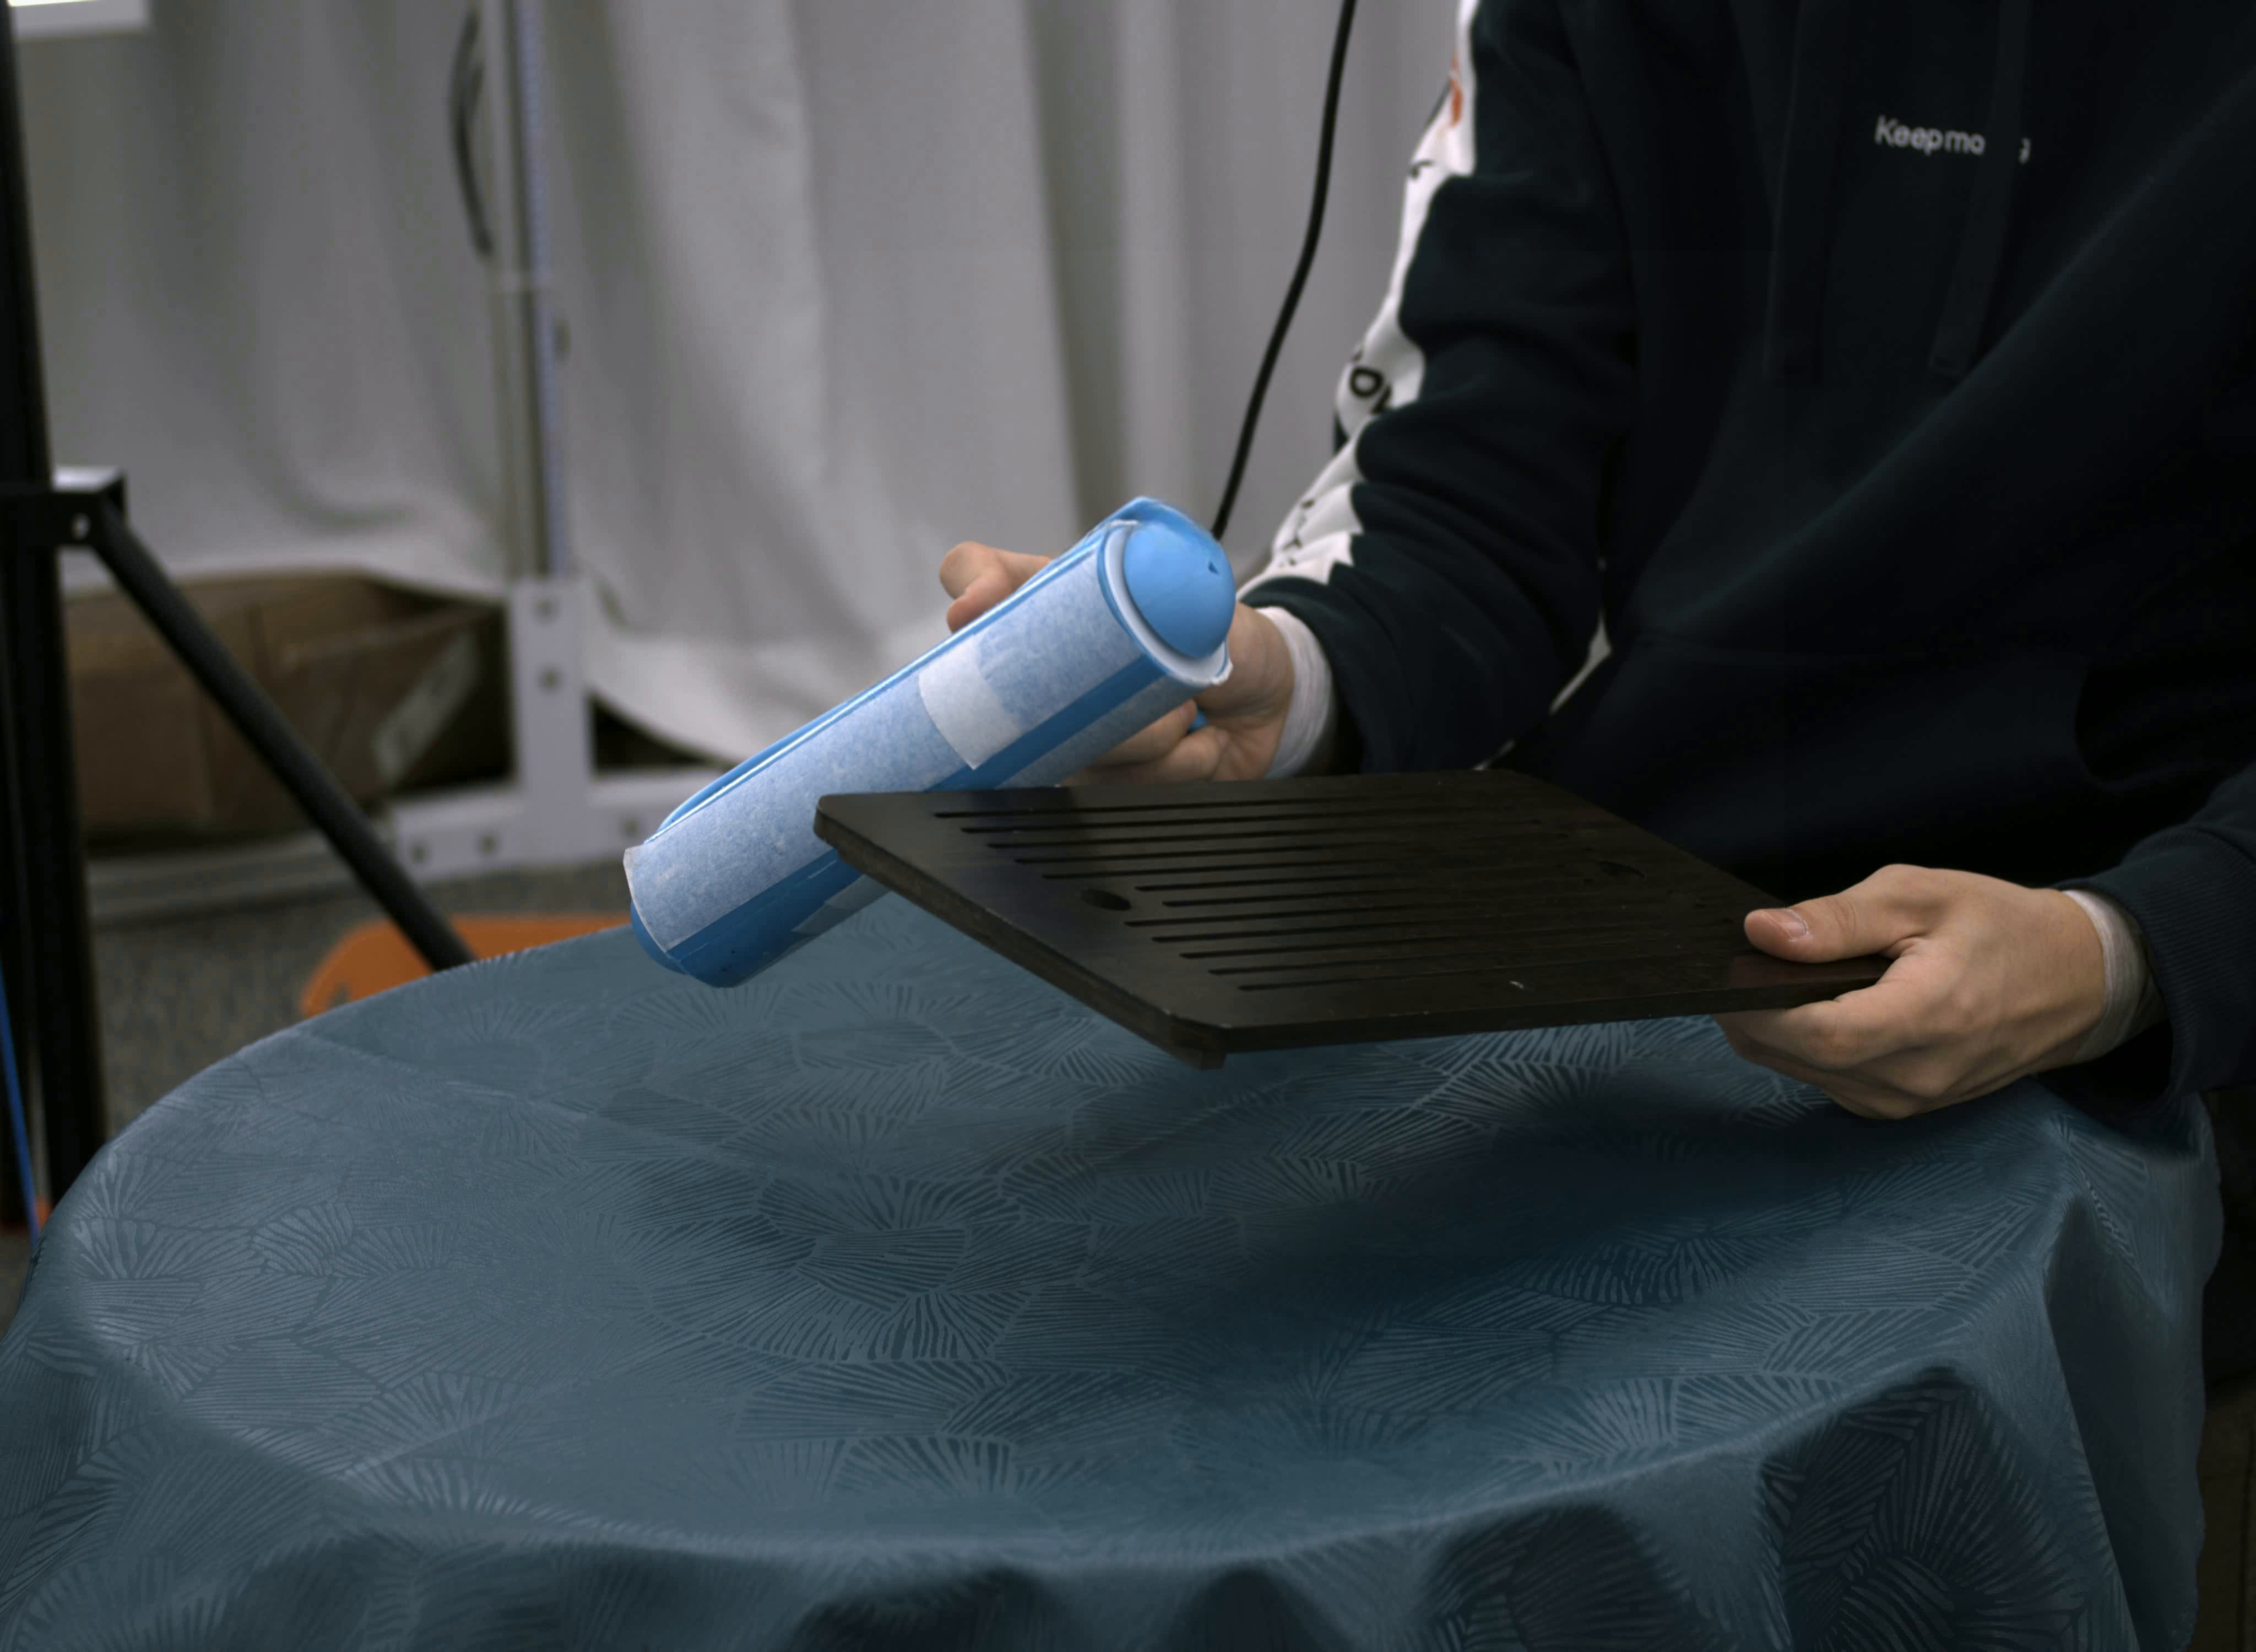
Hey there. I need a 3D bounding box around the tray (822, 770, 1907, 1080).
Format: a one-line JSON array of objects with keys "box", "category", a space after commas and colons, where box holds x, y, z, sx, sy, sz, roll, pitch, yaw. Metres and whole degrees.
[{"box": [0.071, 0.026, 1.515, 0.298, 0.018, 0.174, -2, 22, -43], "category": "tray"}]

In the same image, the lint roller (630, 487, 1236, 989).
[{"box": [-0.036, -0.030, 1.612, 0.231, 0.068, 0.177, -34, -6, 26], "category": "lint roller"}]
